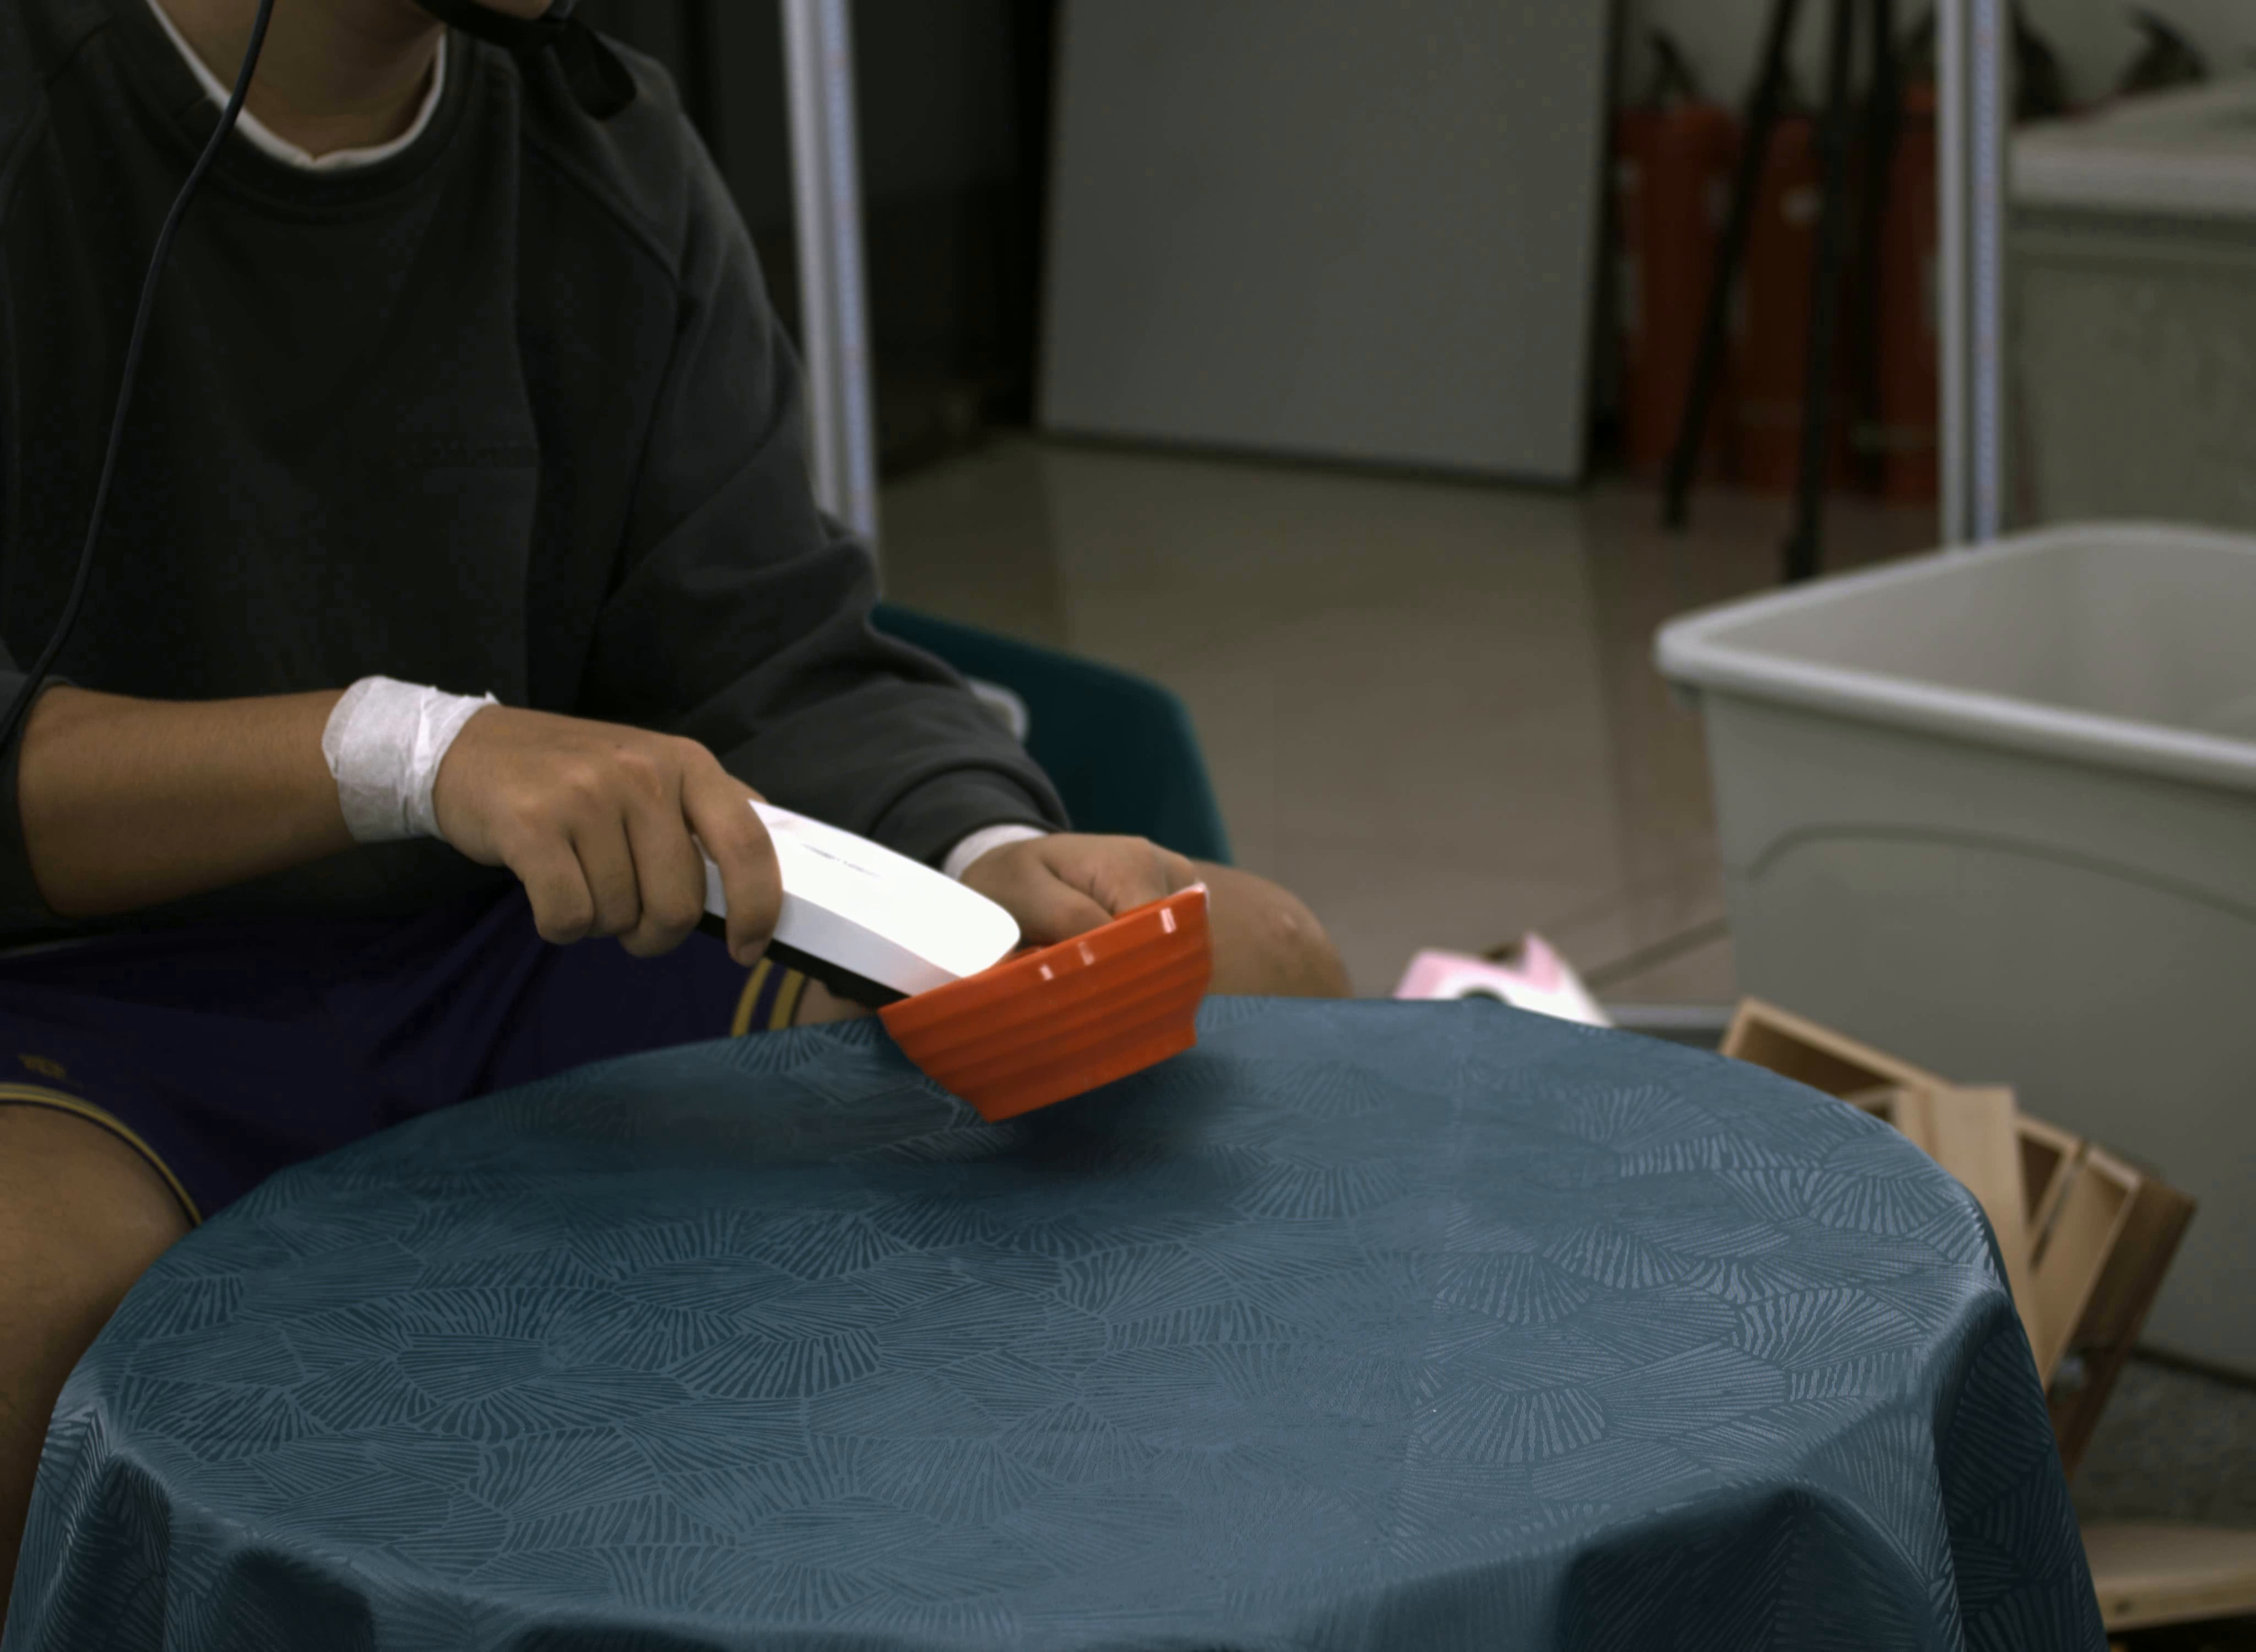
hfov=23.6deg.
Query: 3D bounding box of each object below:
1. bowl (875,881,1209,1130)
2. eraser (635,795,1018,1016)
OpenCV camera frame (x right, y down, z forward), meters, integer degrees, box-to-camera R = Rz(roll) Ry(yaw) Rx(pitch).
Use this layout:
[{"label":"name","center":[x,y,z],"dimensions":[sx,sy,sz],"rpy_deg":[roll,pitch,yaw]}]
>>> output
[{"label":"bowl","center":[-0.021,0.064,1.801],"dimensions":[0.118,0.052,0.119],"rpy_deg":[-22,0,-1]},{"label":"eraser","center":[-0.102,0.027,1.832],"dimensions":[0.131,0.035,0.063],"rpy_deg":[25,23,14]}]
